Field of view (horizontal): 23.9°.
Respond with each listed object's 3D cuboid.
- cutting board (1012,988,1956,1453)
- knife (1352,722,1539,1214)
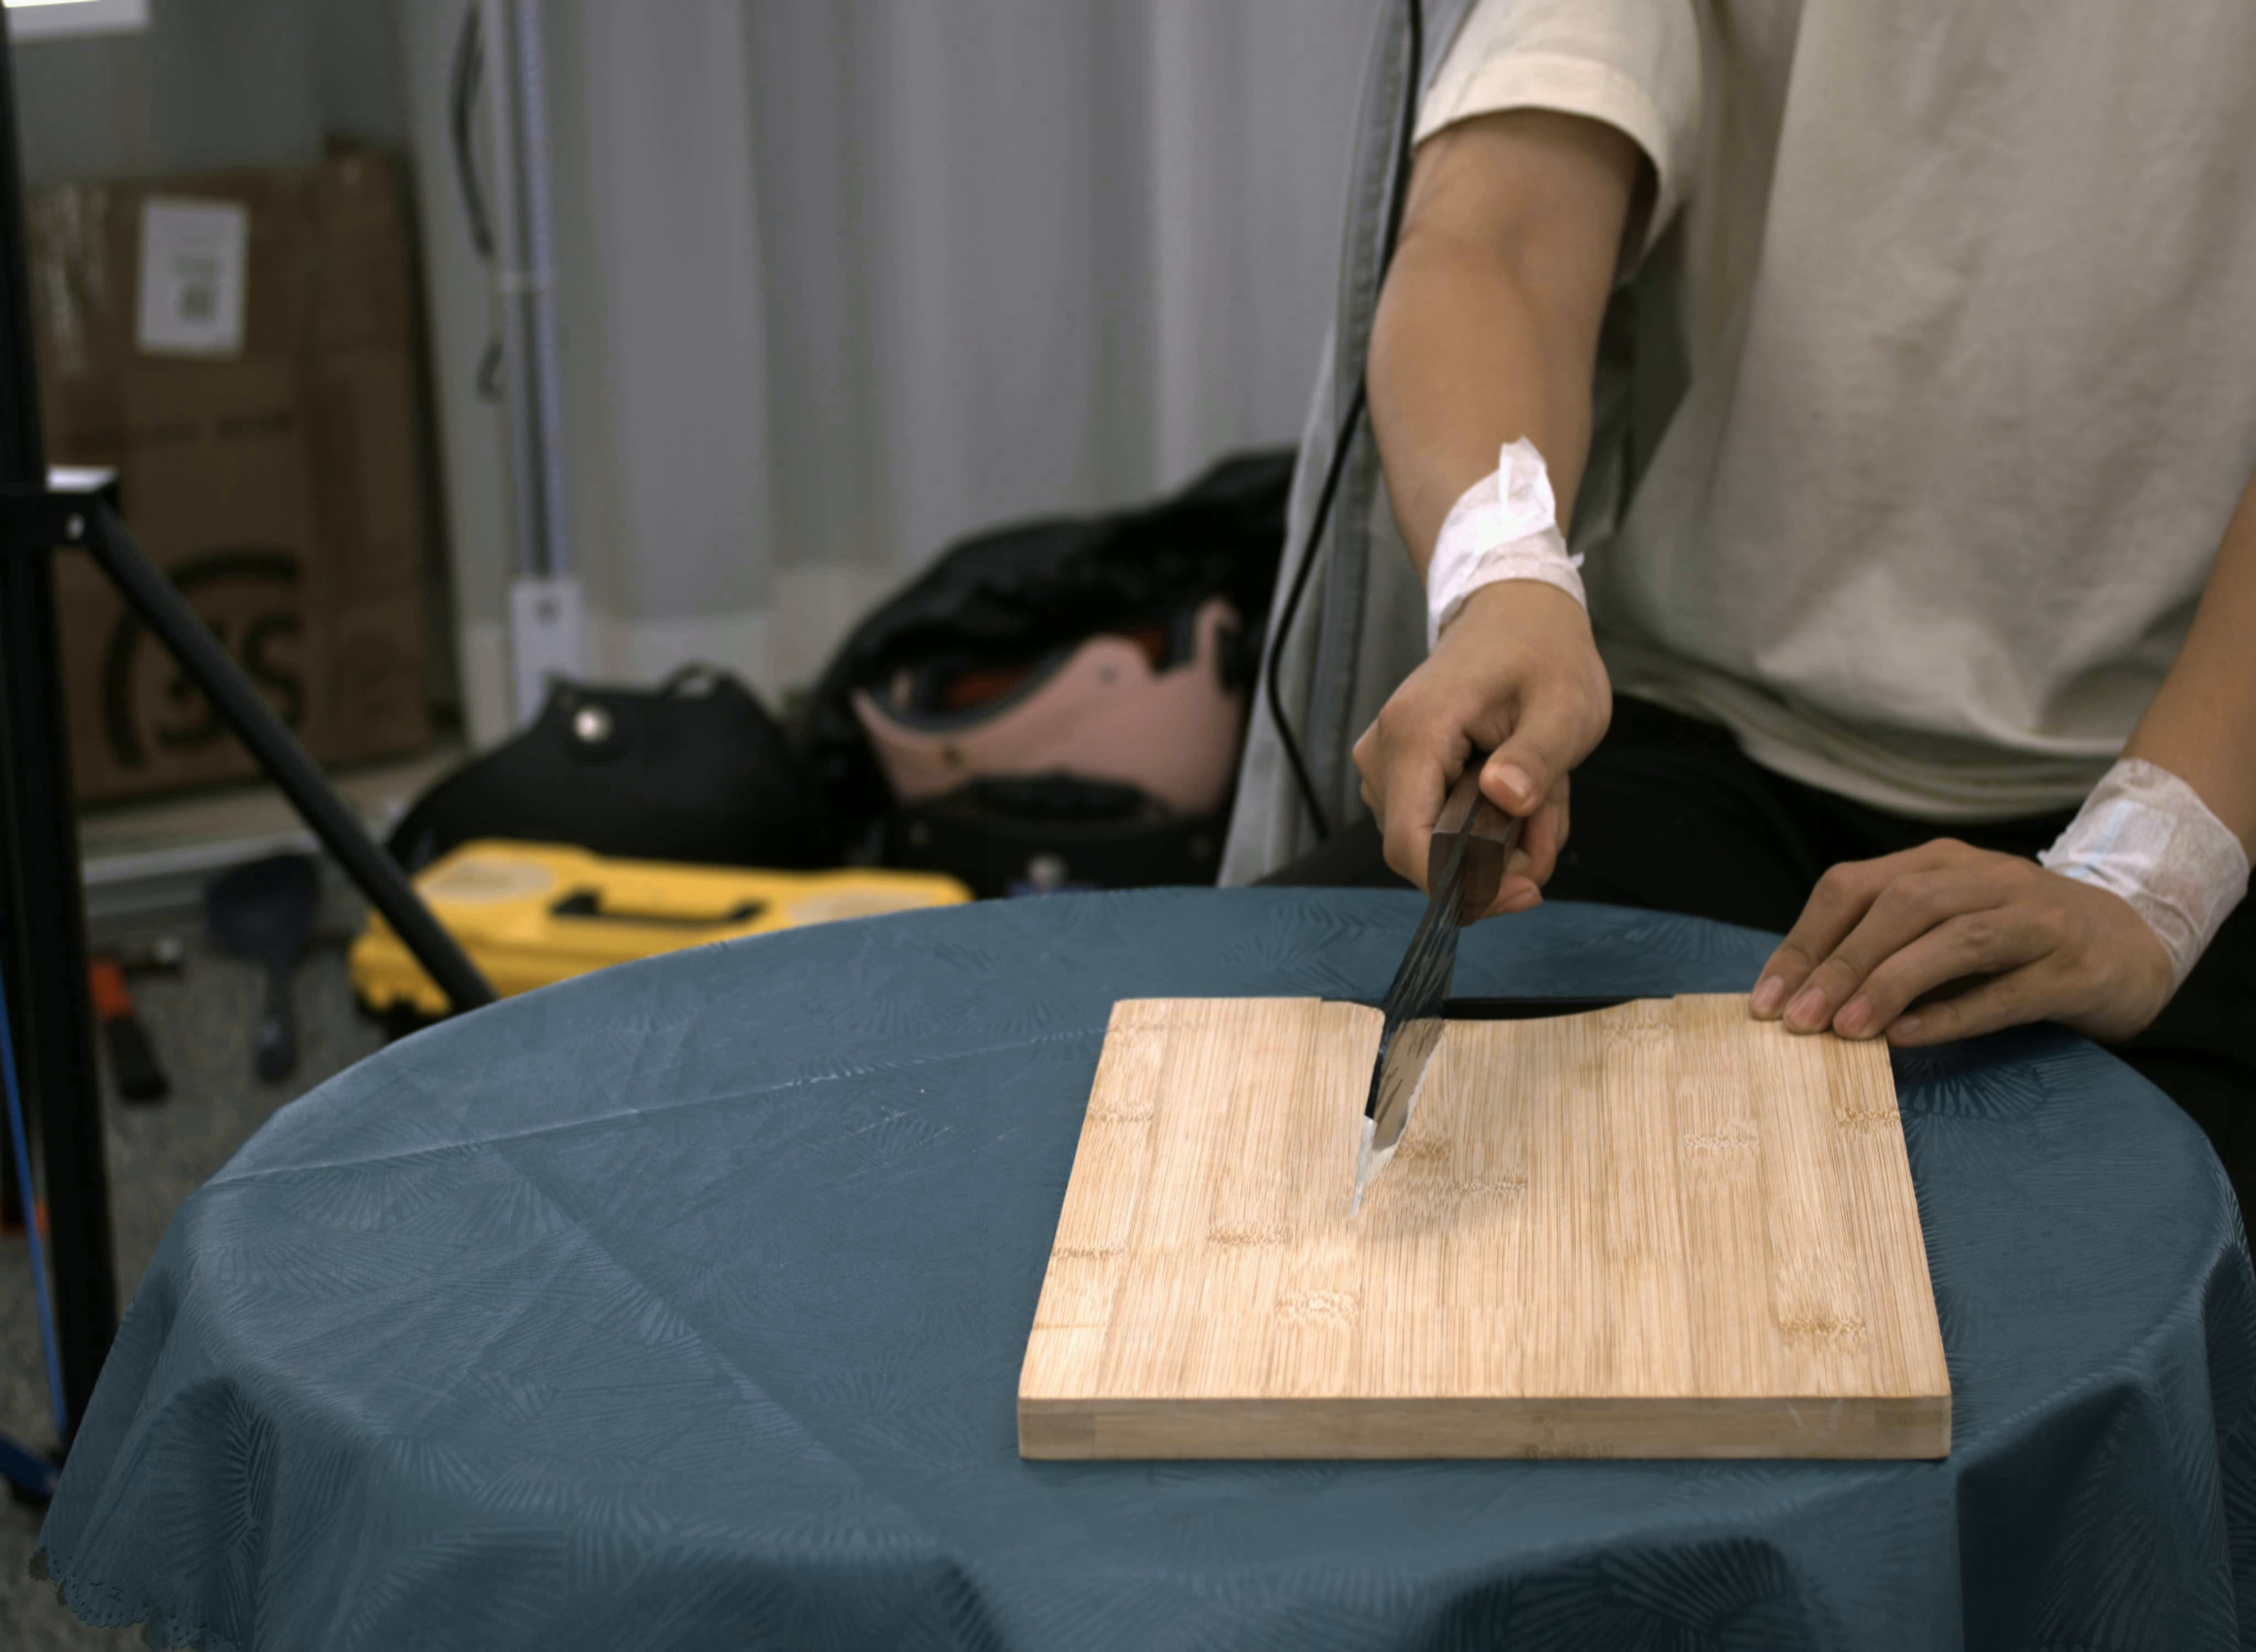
[{"bbox_3d":[0.104,0.107,1.511,0.250,0.023,0.349,-1,15,4],"label":"cutting board"},{"bbox_3d":[0.093,0.038,1.588,0.024,0.068,0.298,8,20,9],"label":"knife"}]
